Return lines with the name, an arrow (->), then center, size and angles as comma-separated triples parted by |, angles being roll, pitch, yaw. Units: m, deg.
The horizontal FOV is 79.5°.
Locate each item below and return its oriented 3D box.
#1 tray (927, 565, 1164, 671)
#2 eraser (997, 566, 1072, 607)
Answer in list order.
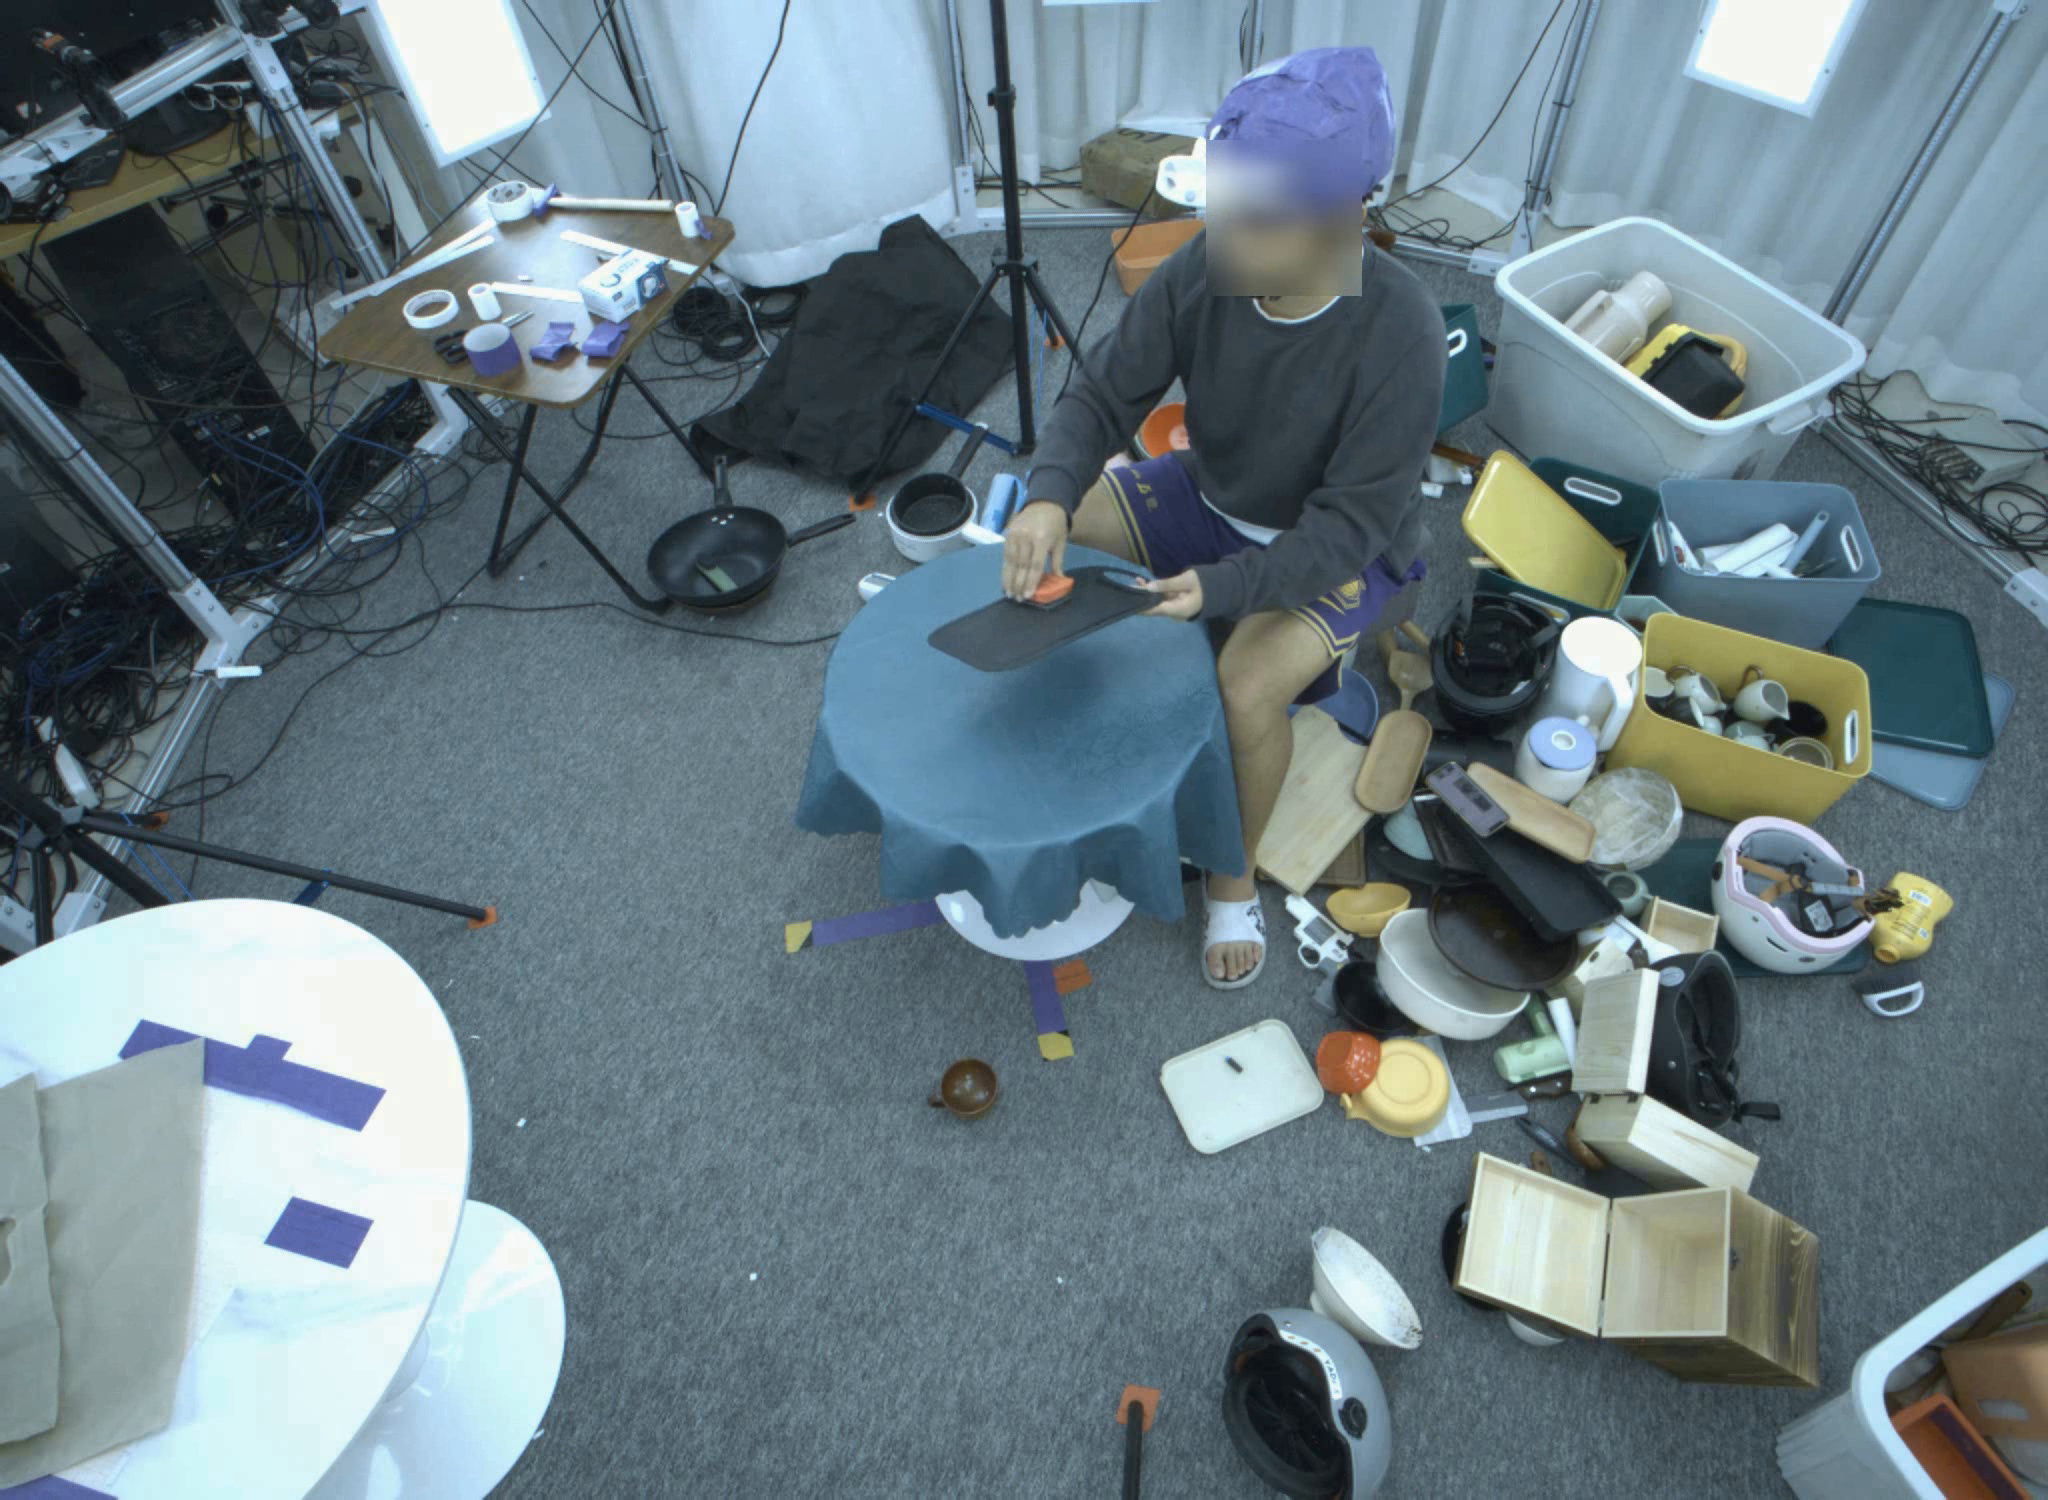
tray -> 0.035, -0.195, 1.720 | 0.329, 0.010, 0.206 | -27, 33, -26
eraser -> 0.015, -0.236, 1.768 | 0.059, 0.023, 0.105 | -32, 38, -31
